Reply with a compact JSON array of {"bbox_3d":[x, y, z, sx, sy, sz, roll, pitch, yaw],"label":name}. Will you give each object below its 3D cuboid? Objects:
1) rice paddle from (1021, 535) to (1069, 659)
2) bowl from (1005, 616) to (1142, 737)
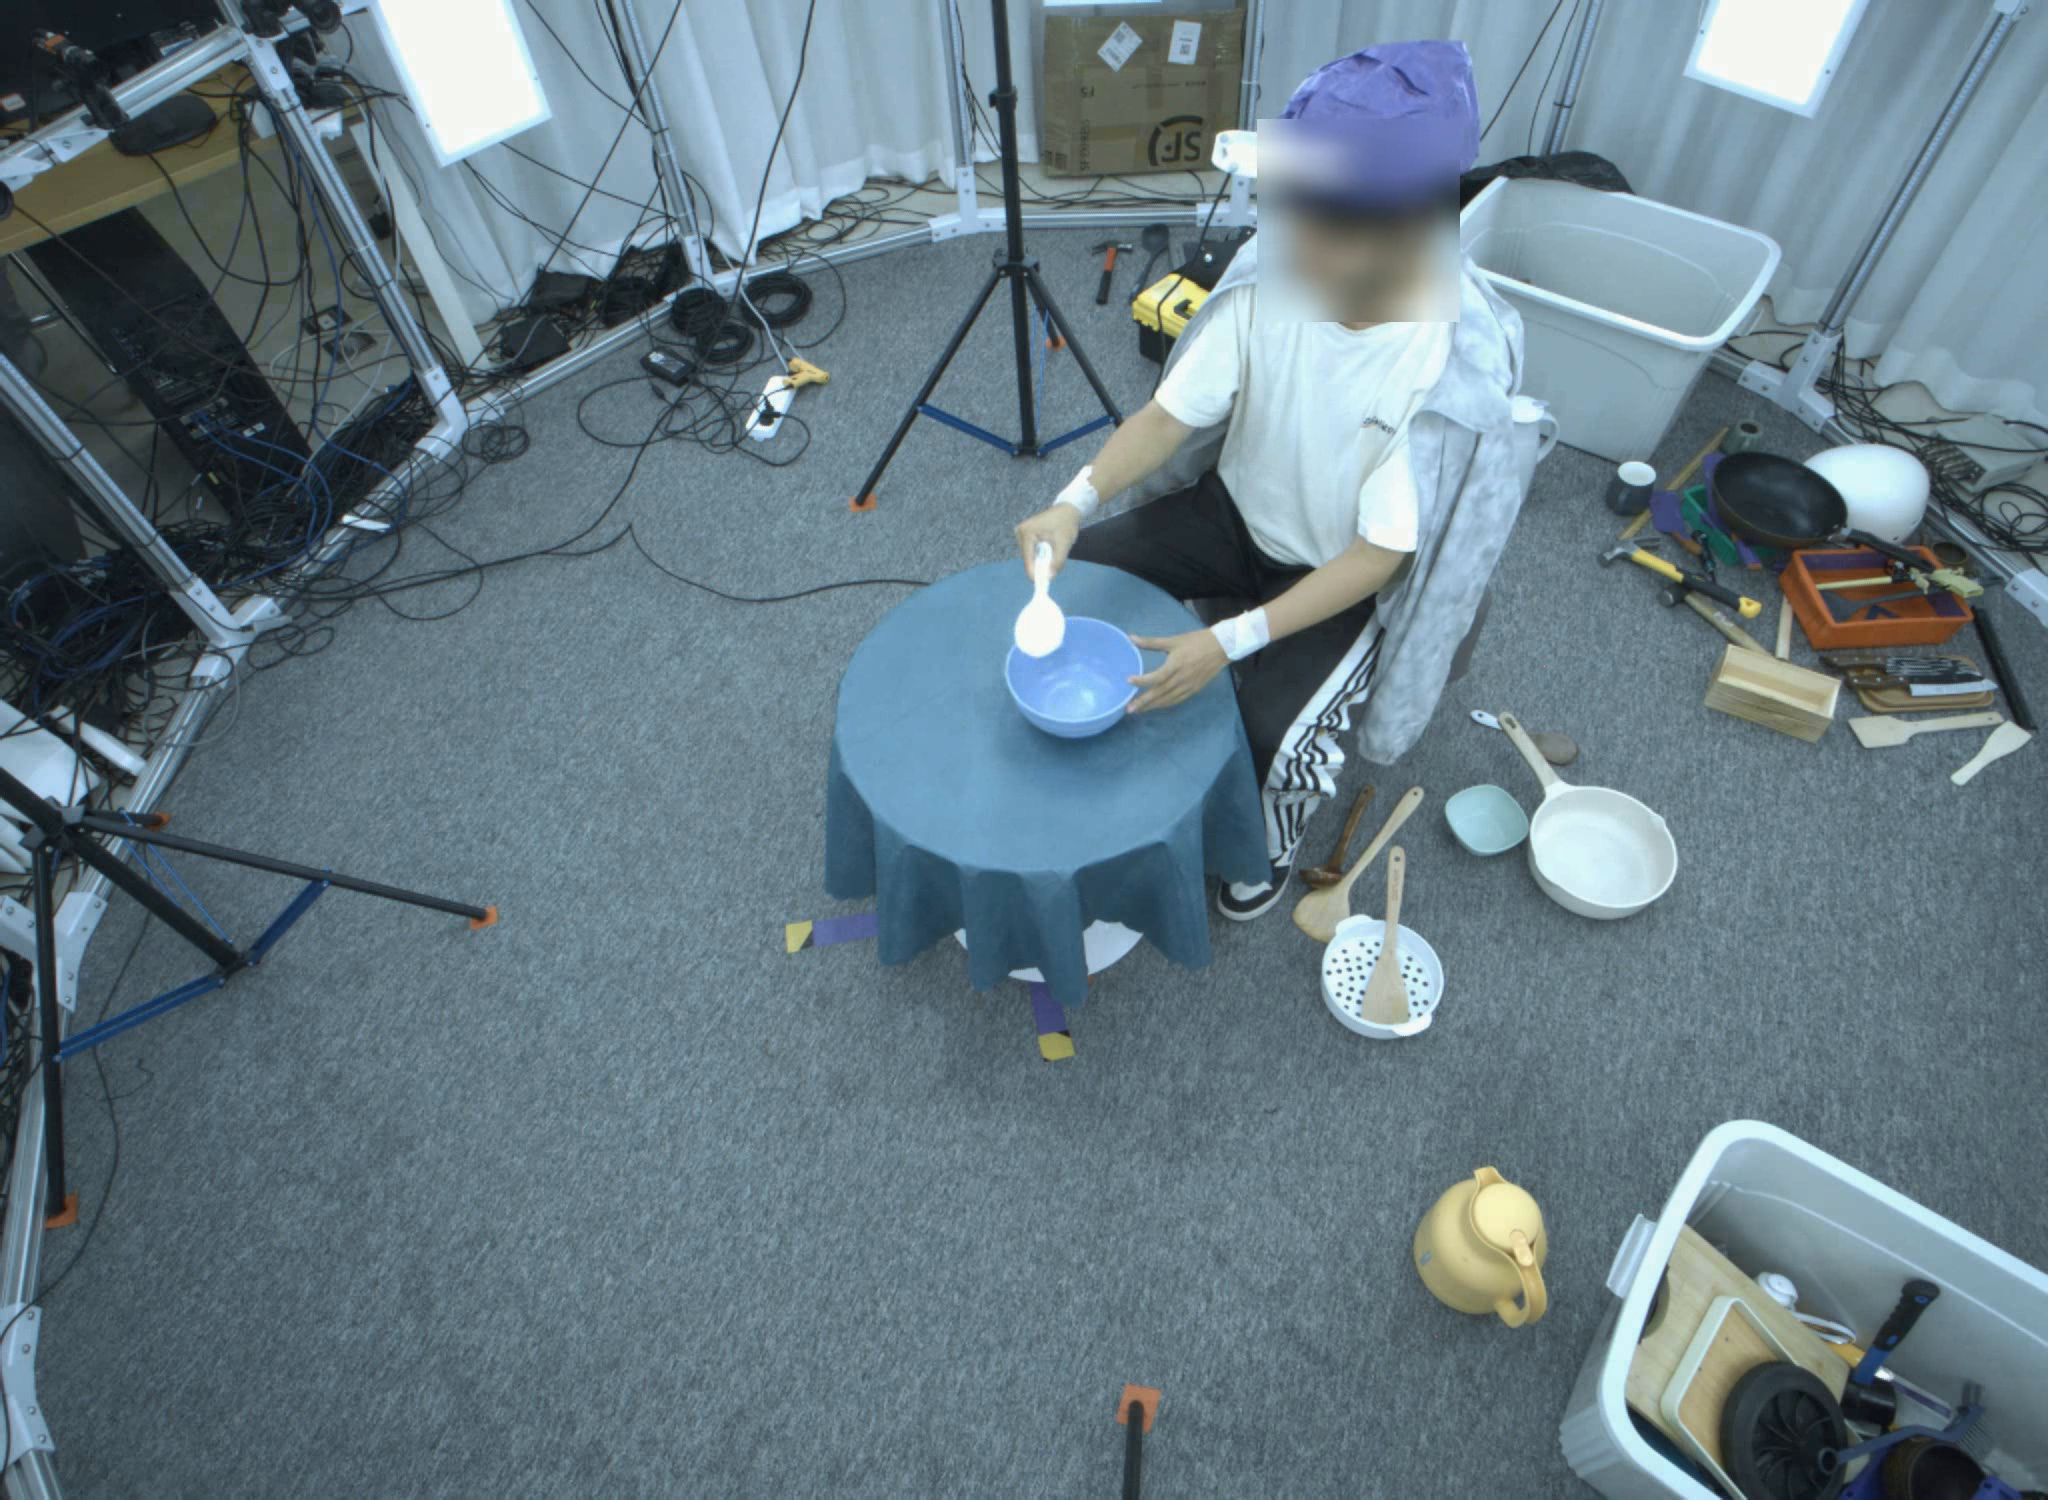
[{"bbox_3d":[0.029,-0.214,1.722,0.068,0.030,0.203,-6,60,13],"label":"rice paddle"},{"bbox_3d":[0.074,-0.091,1.792,0.196,0.096,0.194,-1,55,3],"label":"bowl"}]
